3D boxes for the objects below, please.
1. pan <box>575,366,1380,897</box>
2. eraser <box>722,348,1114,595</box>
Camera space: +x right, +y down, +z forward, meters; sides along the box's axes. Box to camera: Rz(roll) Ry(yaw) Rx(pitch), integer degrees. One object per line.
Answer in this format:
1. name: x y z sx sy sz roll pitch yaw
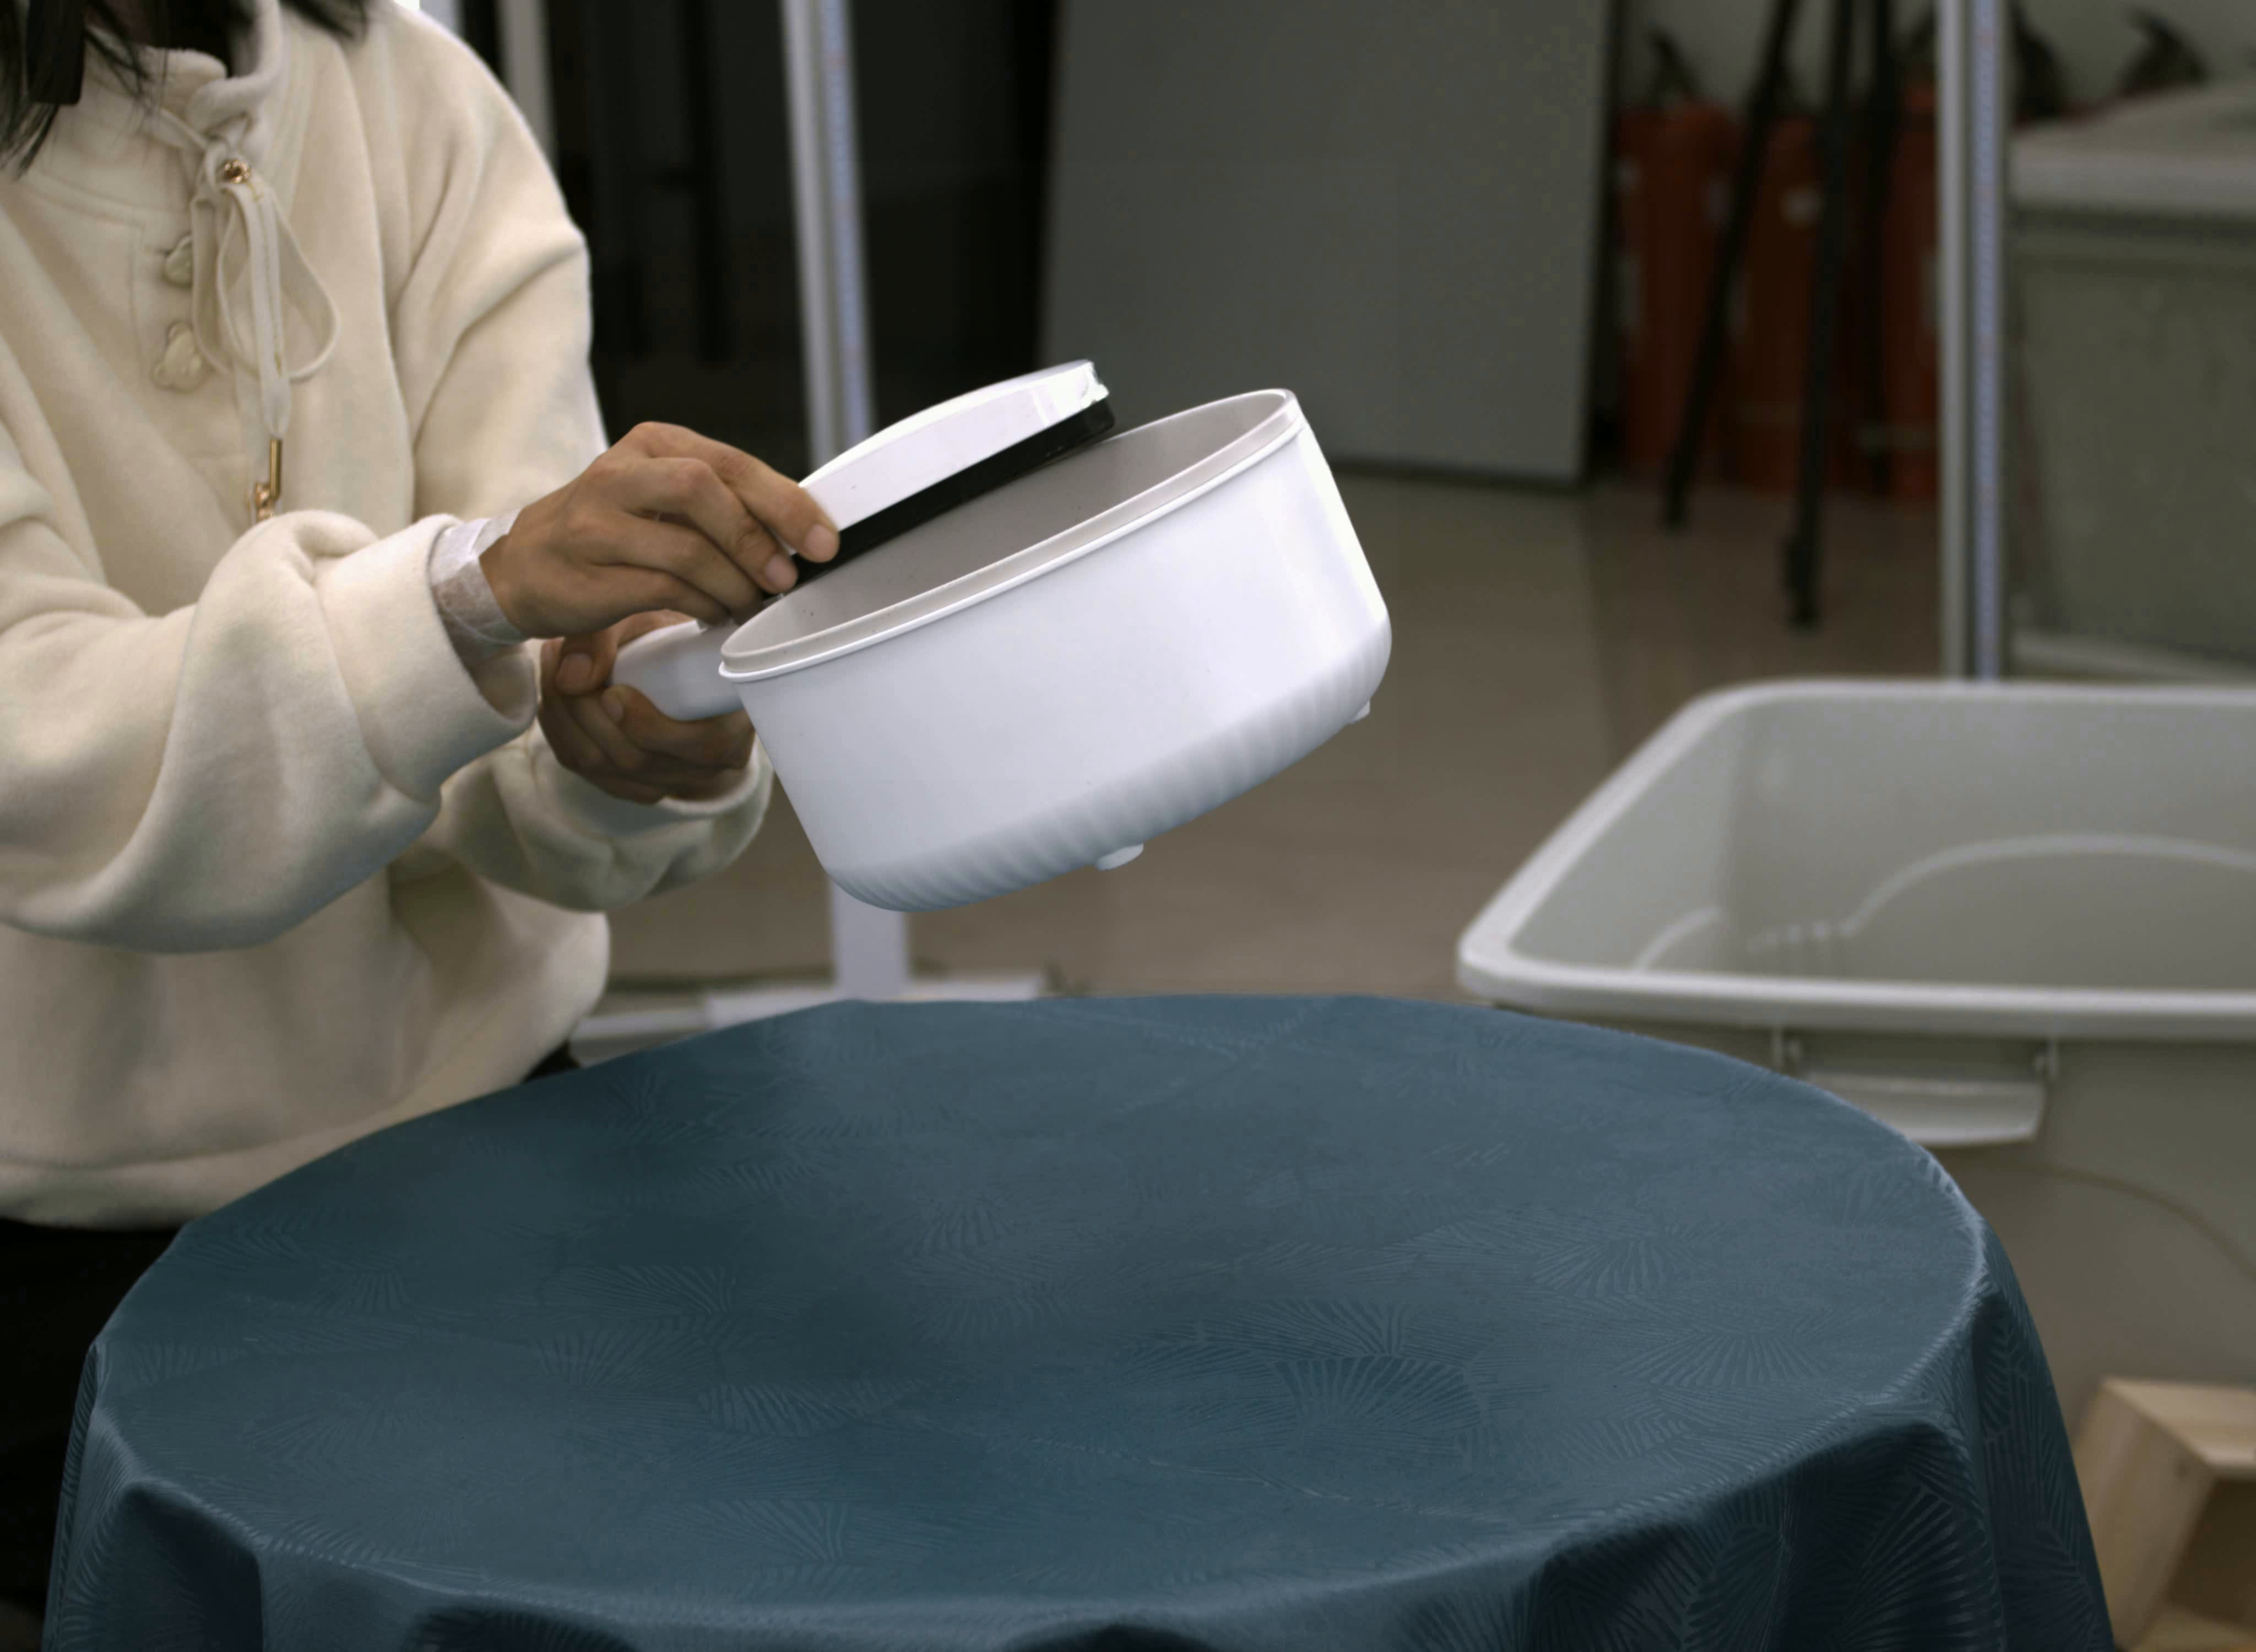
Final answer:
1. pan: -0.063 -0.042 1.729 0.198 0.103 0.358 -30 8 -35
2. eraser: -0.068 -0.117 1.741 0.131 0.035 0.063 -26 2 18
